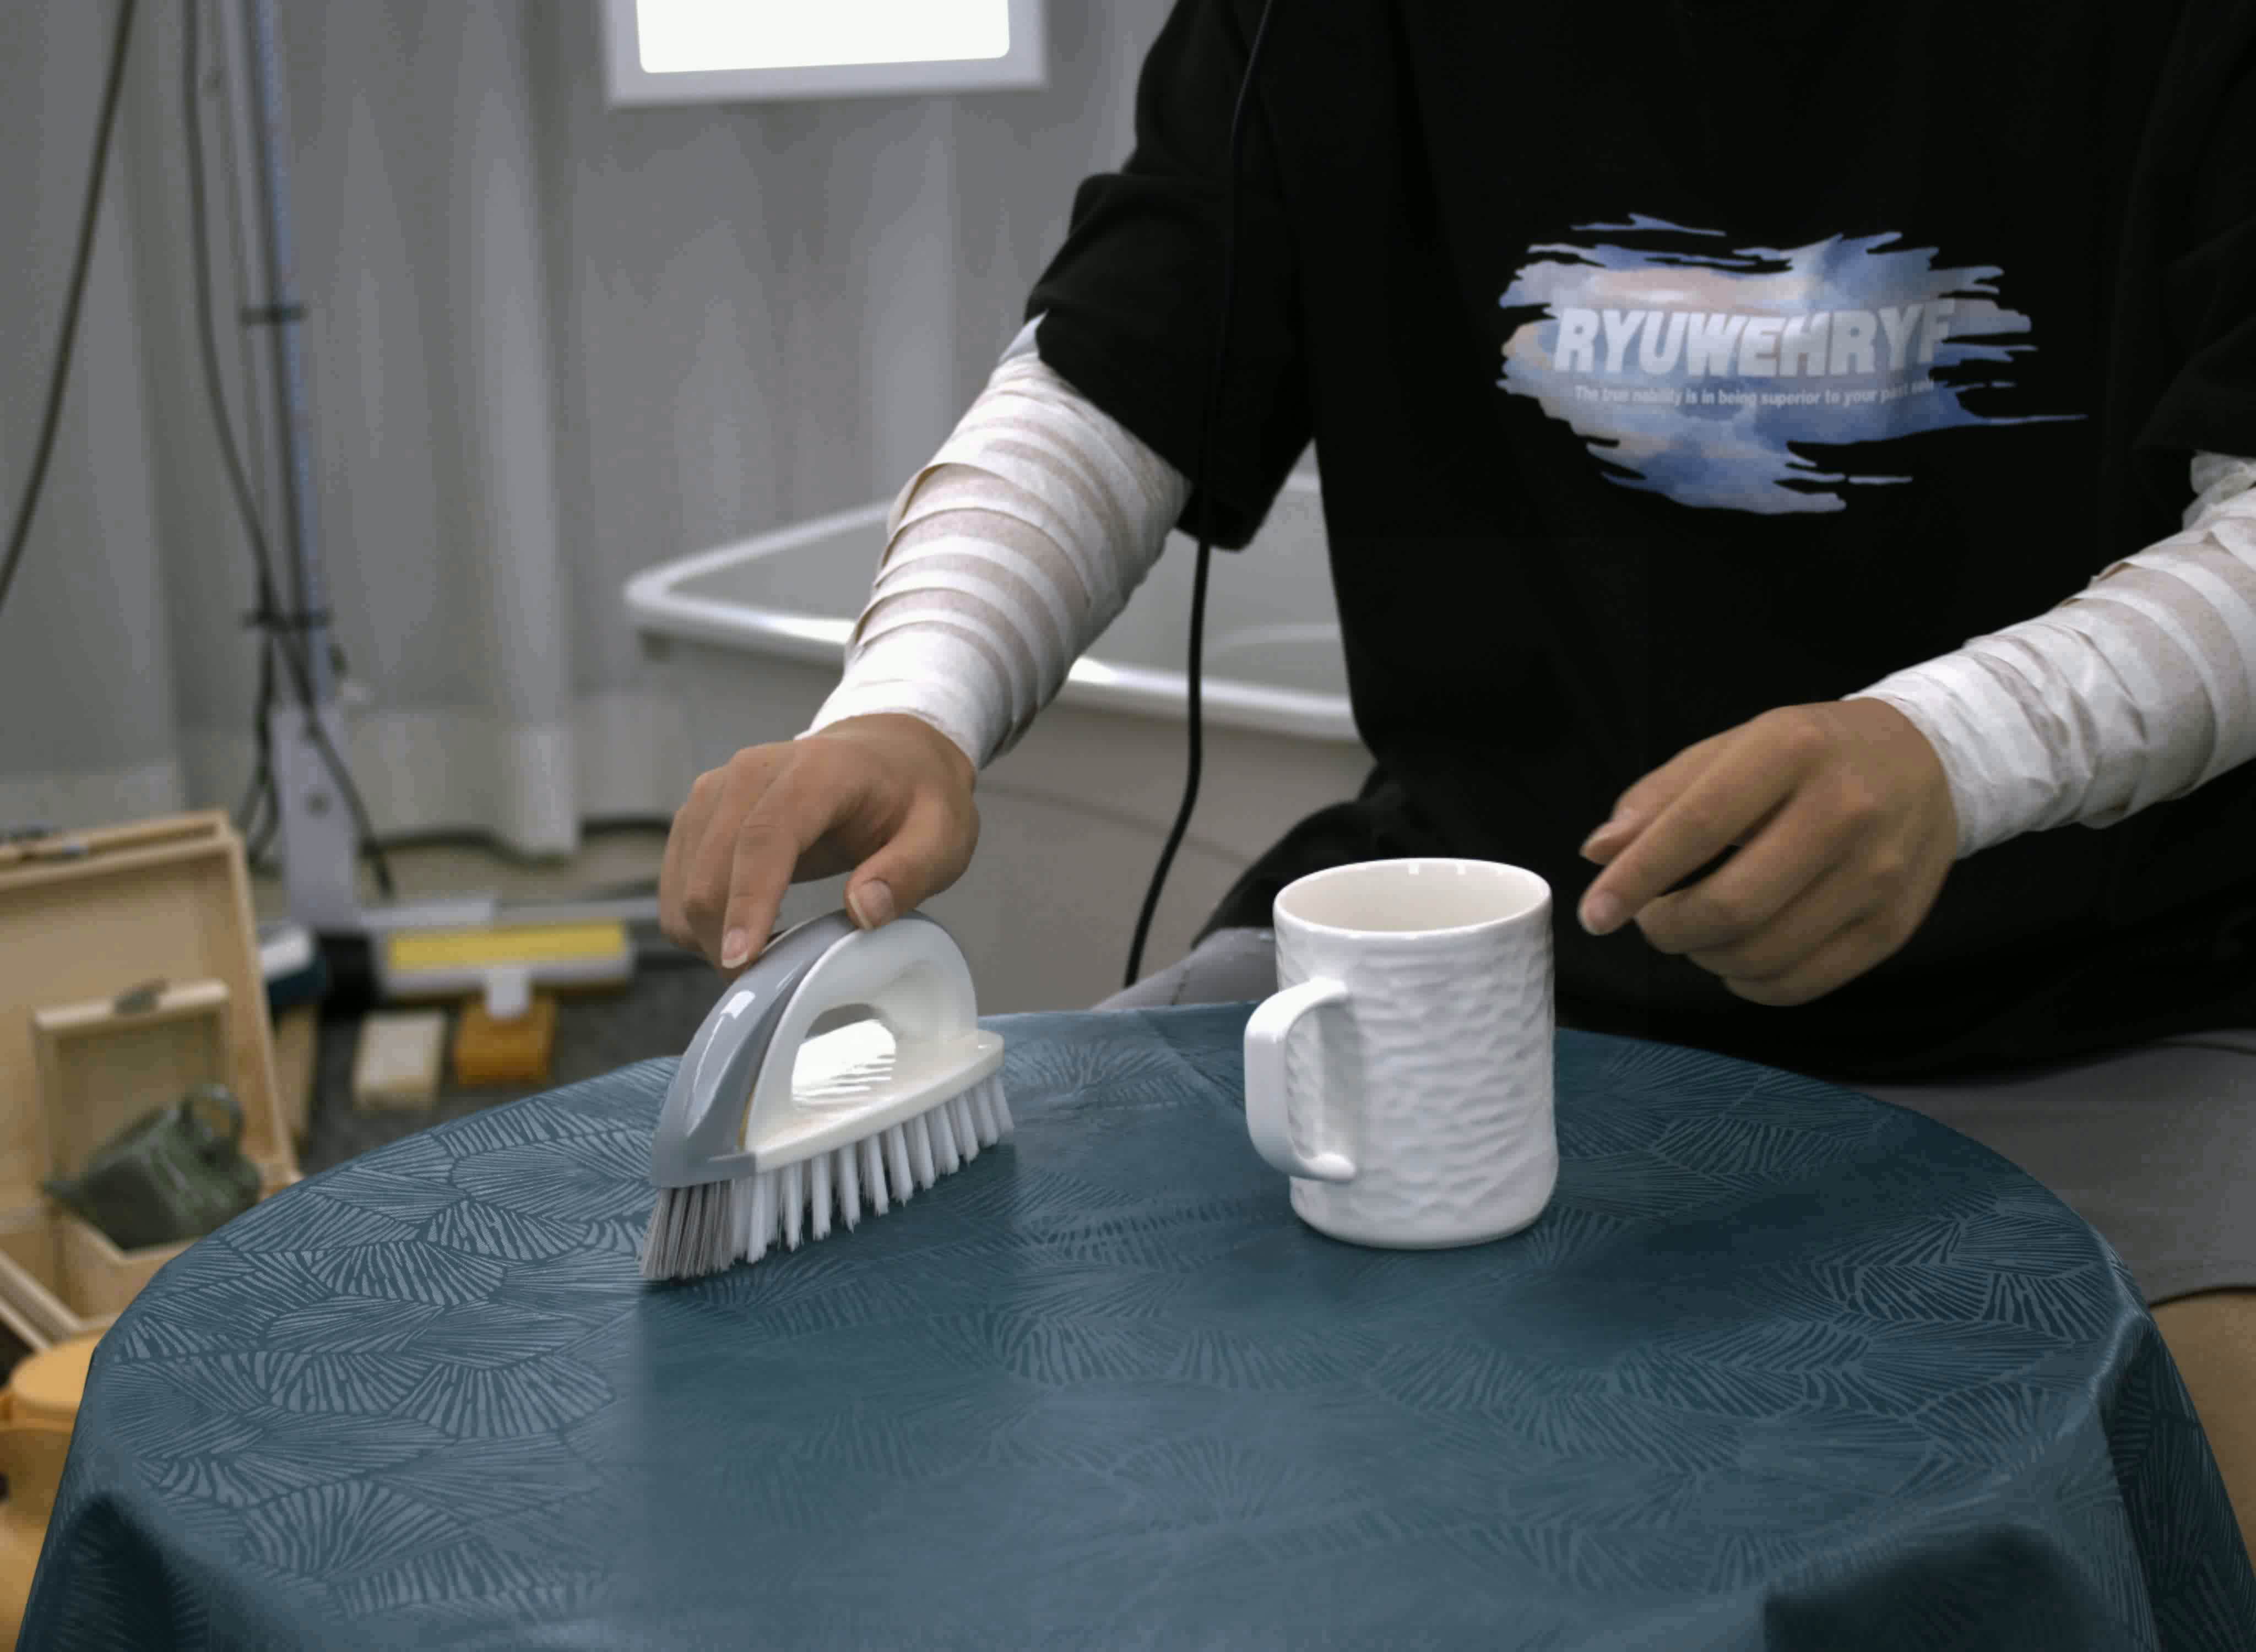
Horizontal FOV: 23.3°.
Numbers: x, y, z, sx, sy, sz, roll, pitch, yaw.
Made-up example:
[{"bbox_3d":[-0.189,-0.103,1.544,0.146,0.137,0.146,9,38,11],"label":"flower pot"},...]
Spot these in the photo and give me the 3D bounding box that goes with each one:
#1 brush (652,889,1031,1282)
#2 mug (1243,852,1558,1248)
[{"bbox_3d":[-0.098,0.076,1.702,0.061,0.094,0.176,2,16,31],"label":"brush"},{"bbox_3d":[0.078,0.072,1.658,0.085,0.101,0.118,9,19,40],"label":"mug"}]
